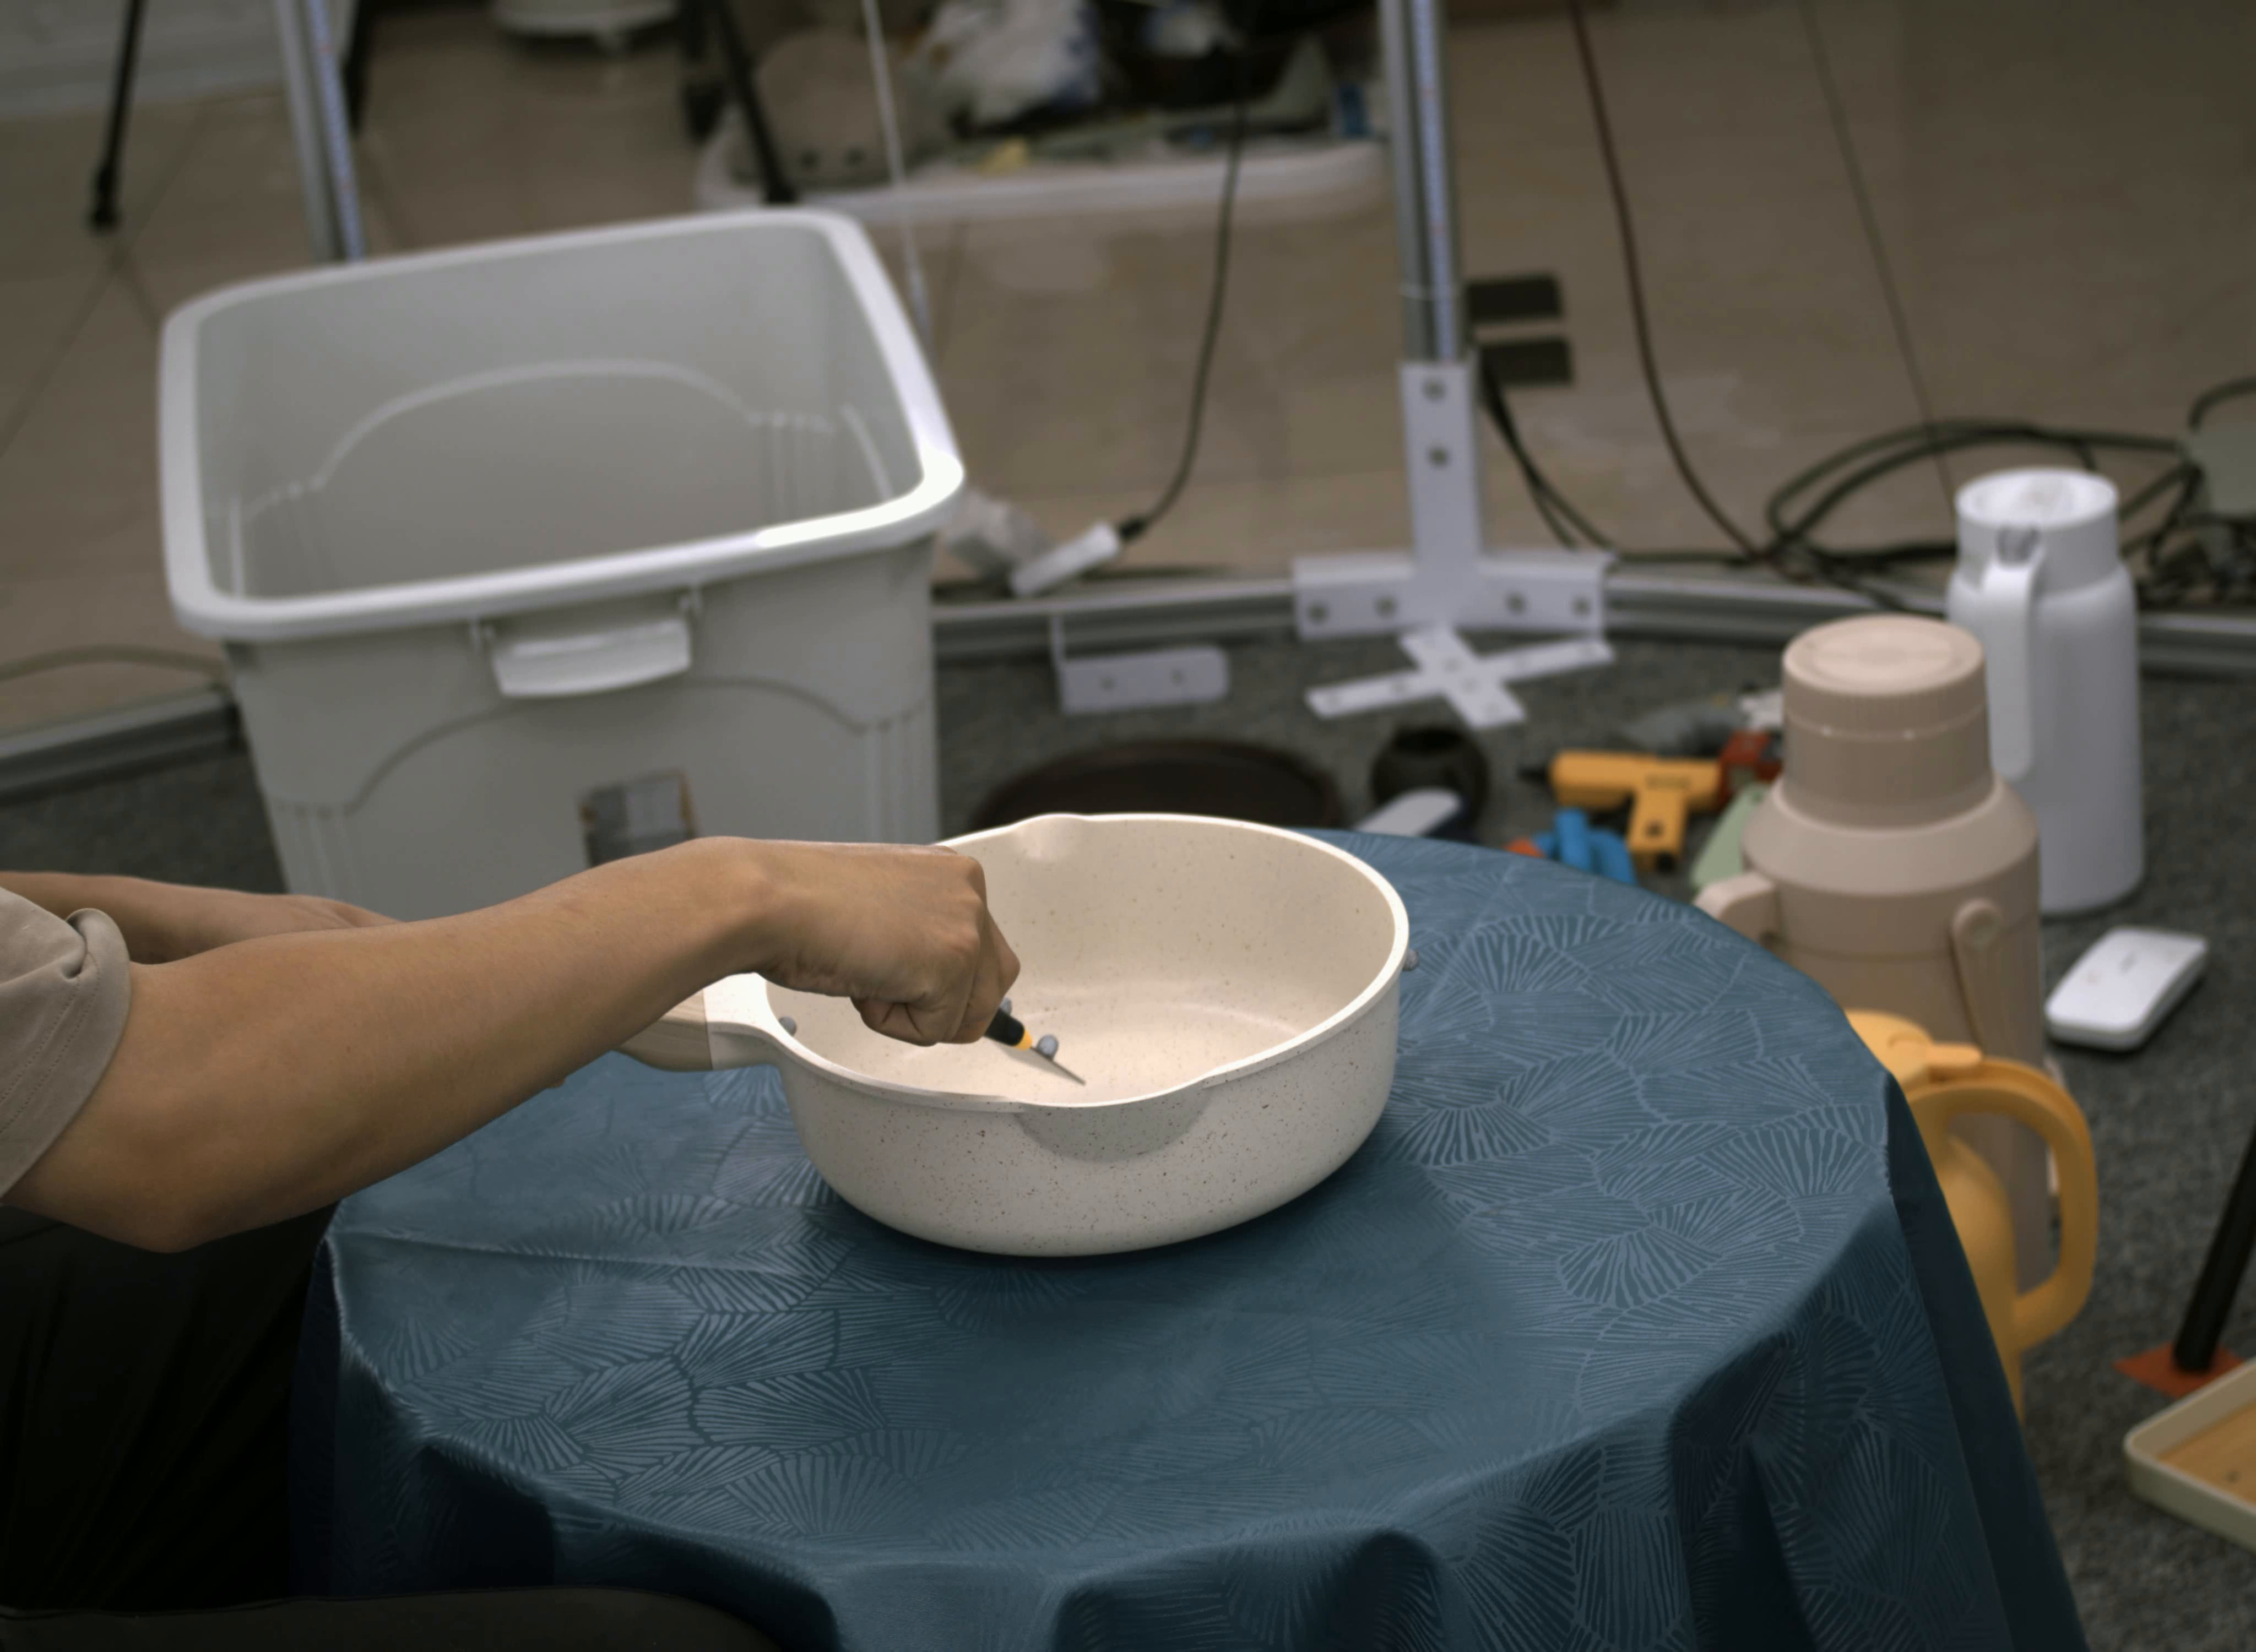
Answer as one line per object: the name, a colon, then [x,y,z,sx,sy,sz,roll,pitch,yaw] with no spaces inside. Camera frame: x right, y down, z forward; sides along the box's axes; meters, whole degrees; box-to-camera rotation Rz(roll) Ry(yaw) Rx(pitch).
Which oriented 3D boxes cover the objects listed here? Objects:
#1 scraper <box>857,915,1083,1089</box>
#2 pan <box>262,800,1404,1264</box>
scraper: [-0.059,0.066,2.085,0.038,0.173,0.015,23,80,26]
pan: [-0.108,0.089,2.173,0.434,0.104,0.259,-8,28,-4]
